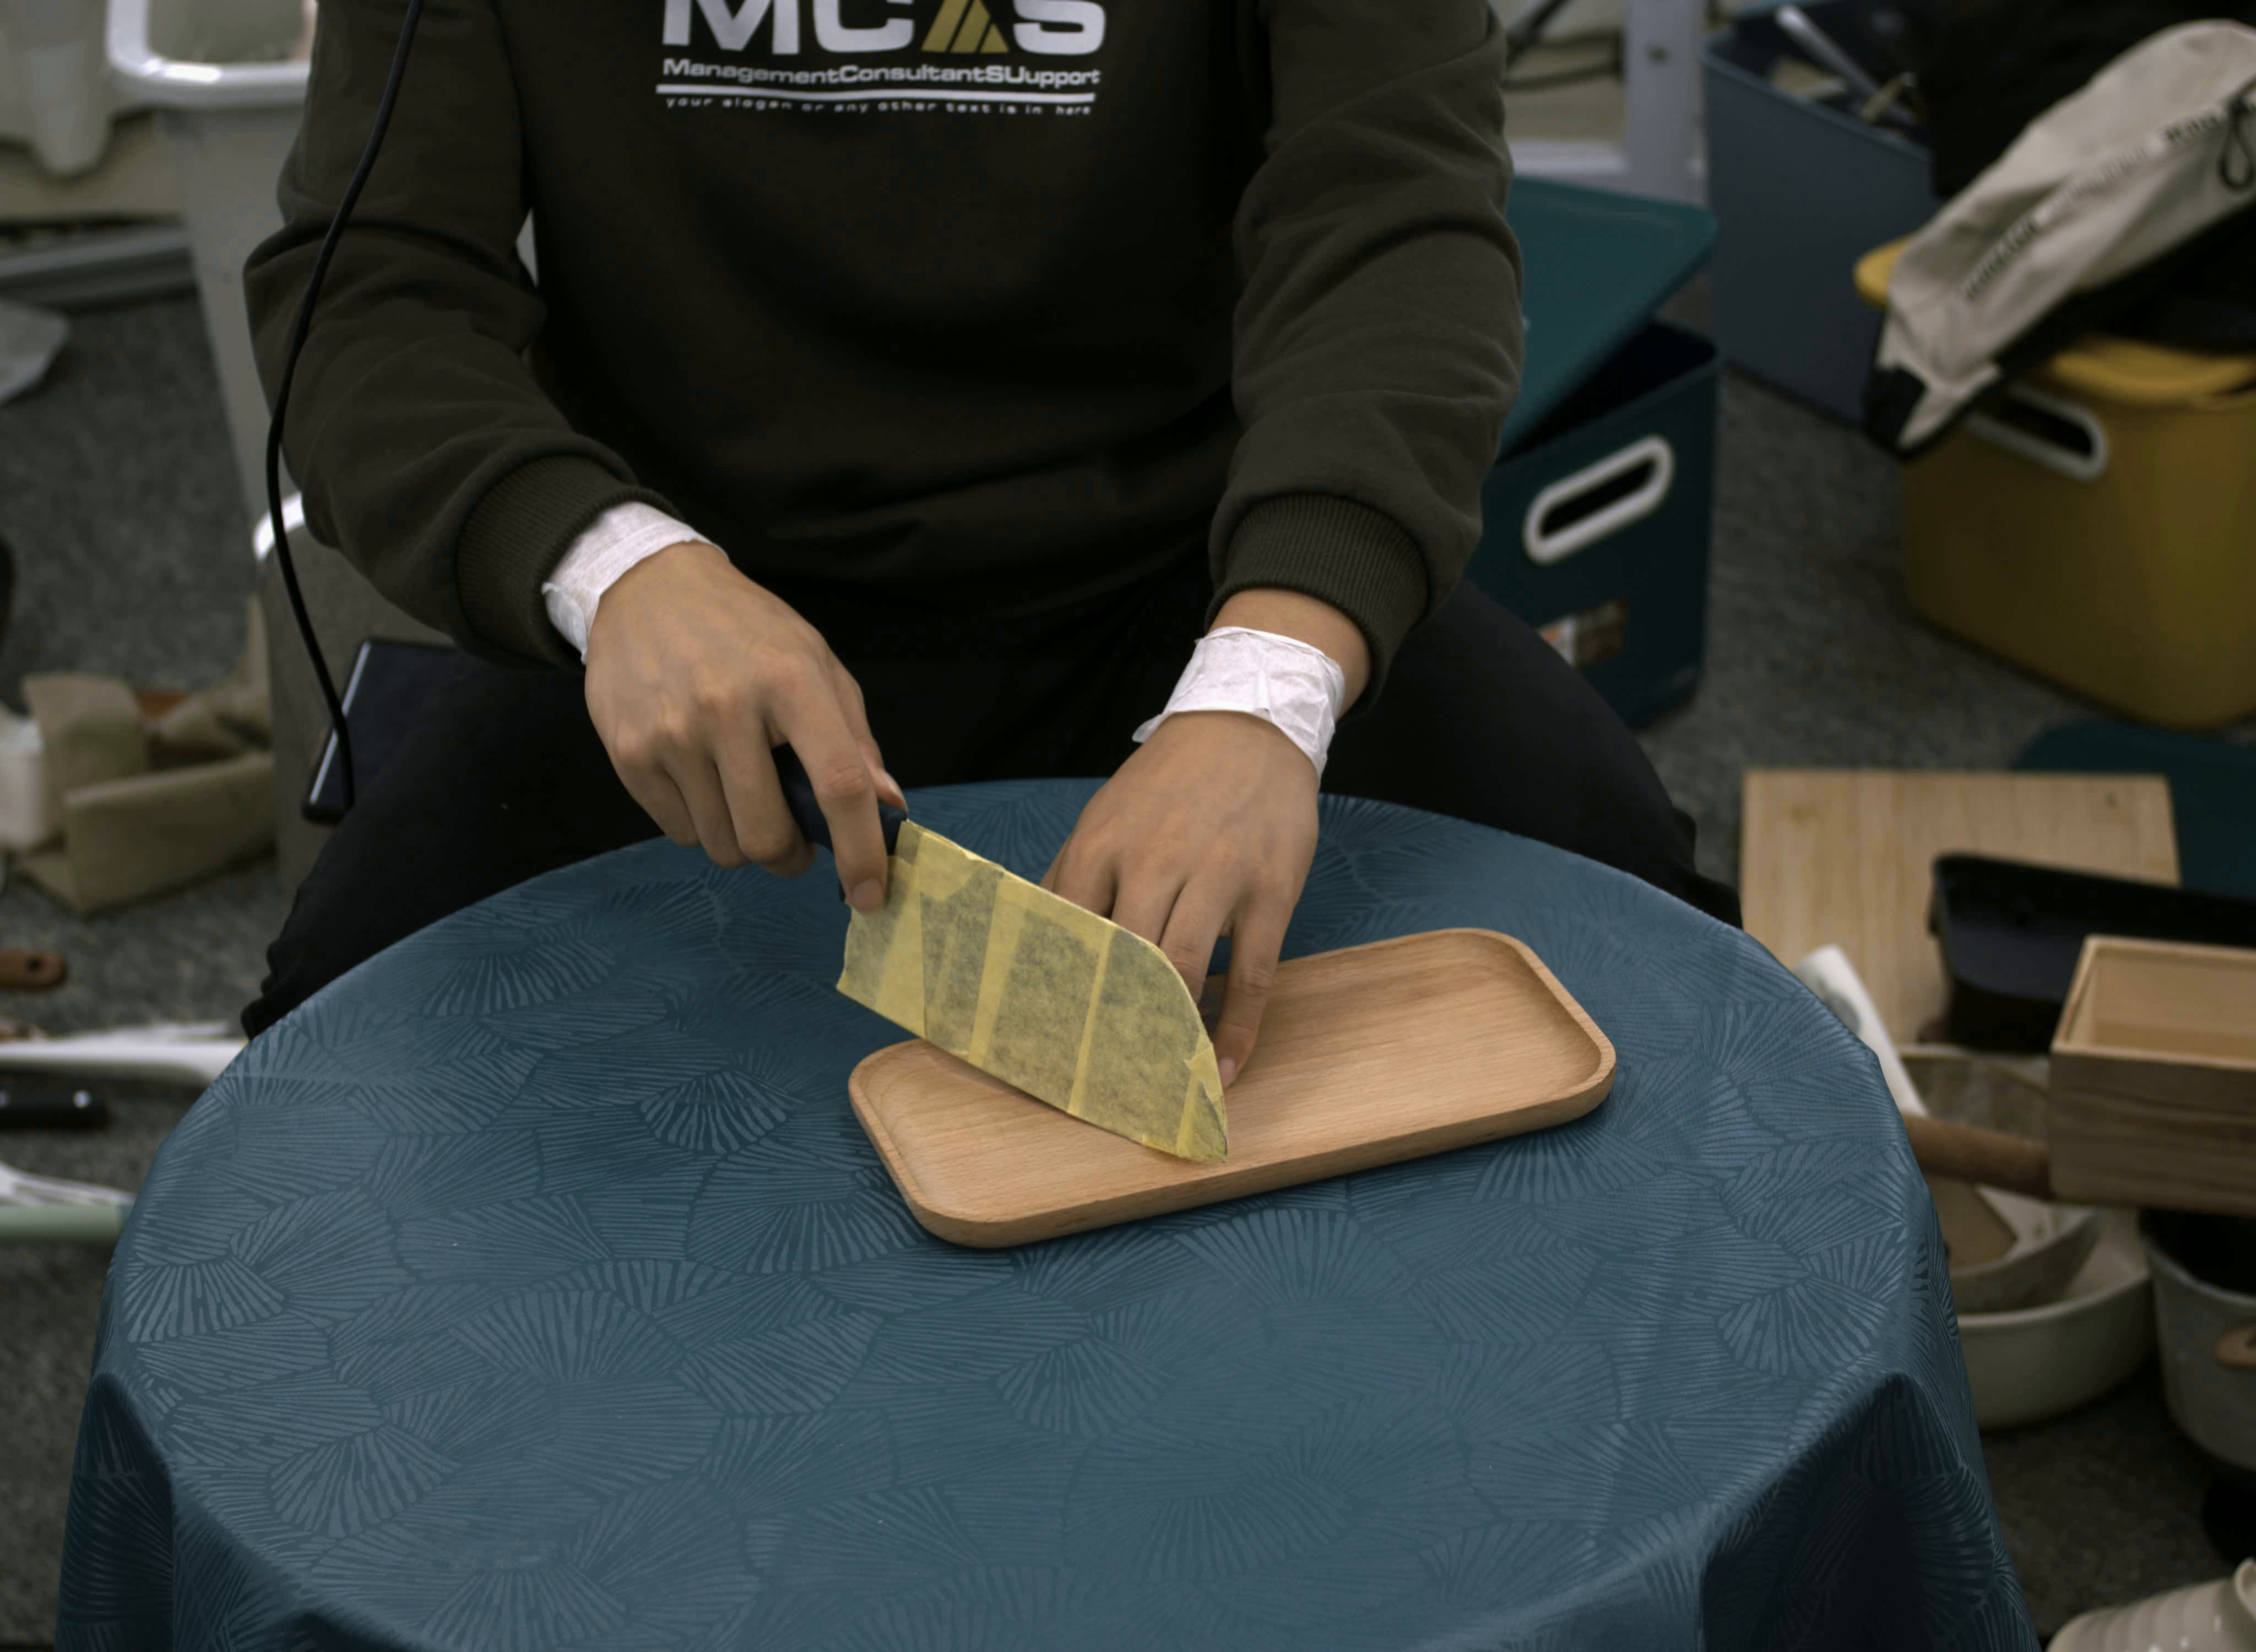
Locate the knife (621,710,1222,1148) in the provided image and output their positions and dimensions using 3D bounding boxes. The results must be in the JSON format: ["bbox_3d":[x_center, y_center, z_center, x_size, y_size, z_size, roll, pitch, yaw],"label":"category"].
[{"bbox_3d":[-0.073,0.033,1.924,0.290,0.080,0.027,30,24,34],"label":"knife"}]

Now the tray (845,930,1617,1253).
[{"bbox_3d":[0.035,0.089,1.903,0.251,0.022,0.131,-12,26,-16],"label":"tray"}]
